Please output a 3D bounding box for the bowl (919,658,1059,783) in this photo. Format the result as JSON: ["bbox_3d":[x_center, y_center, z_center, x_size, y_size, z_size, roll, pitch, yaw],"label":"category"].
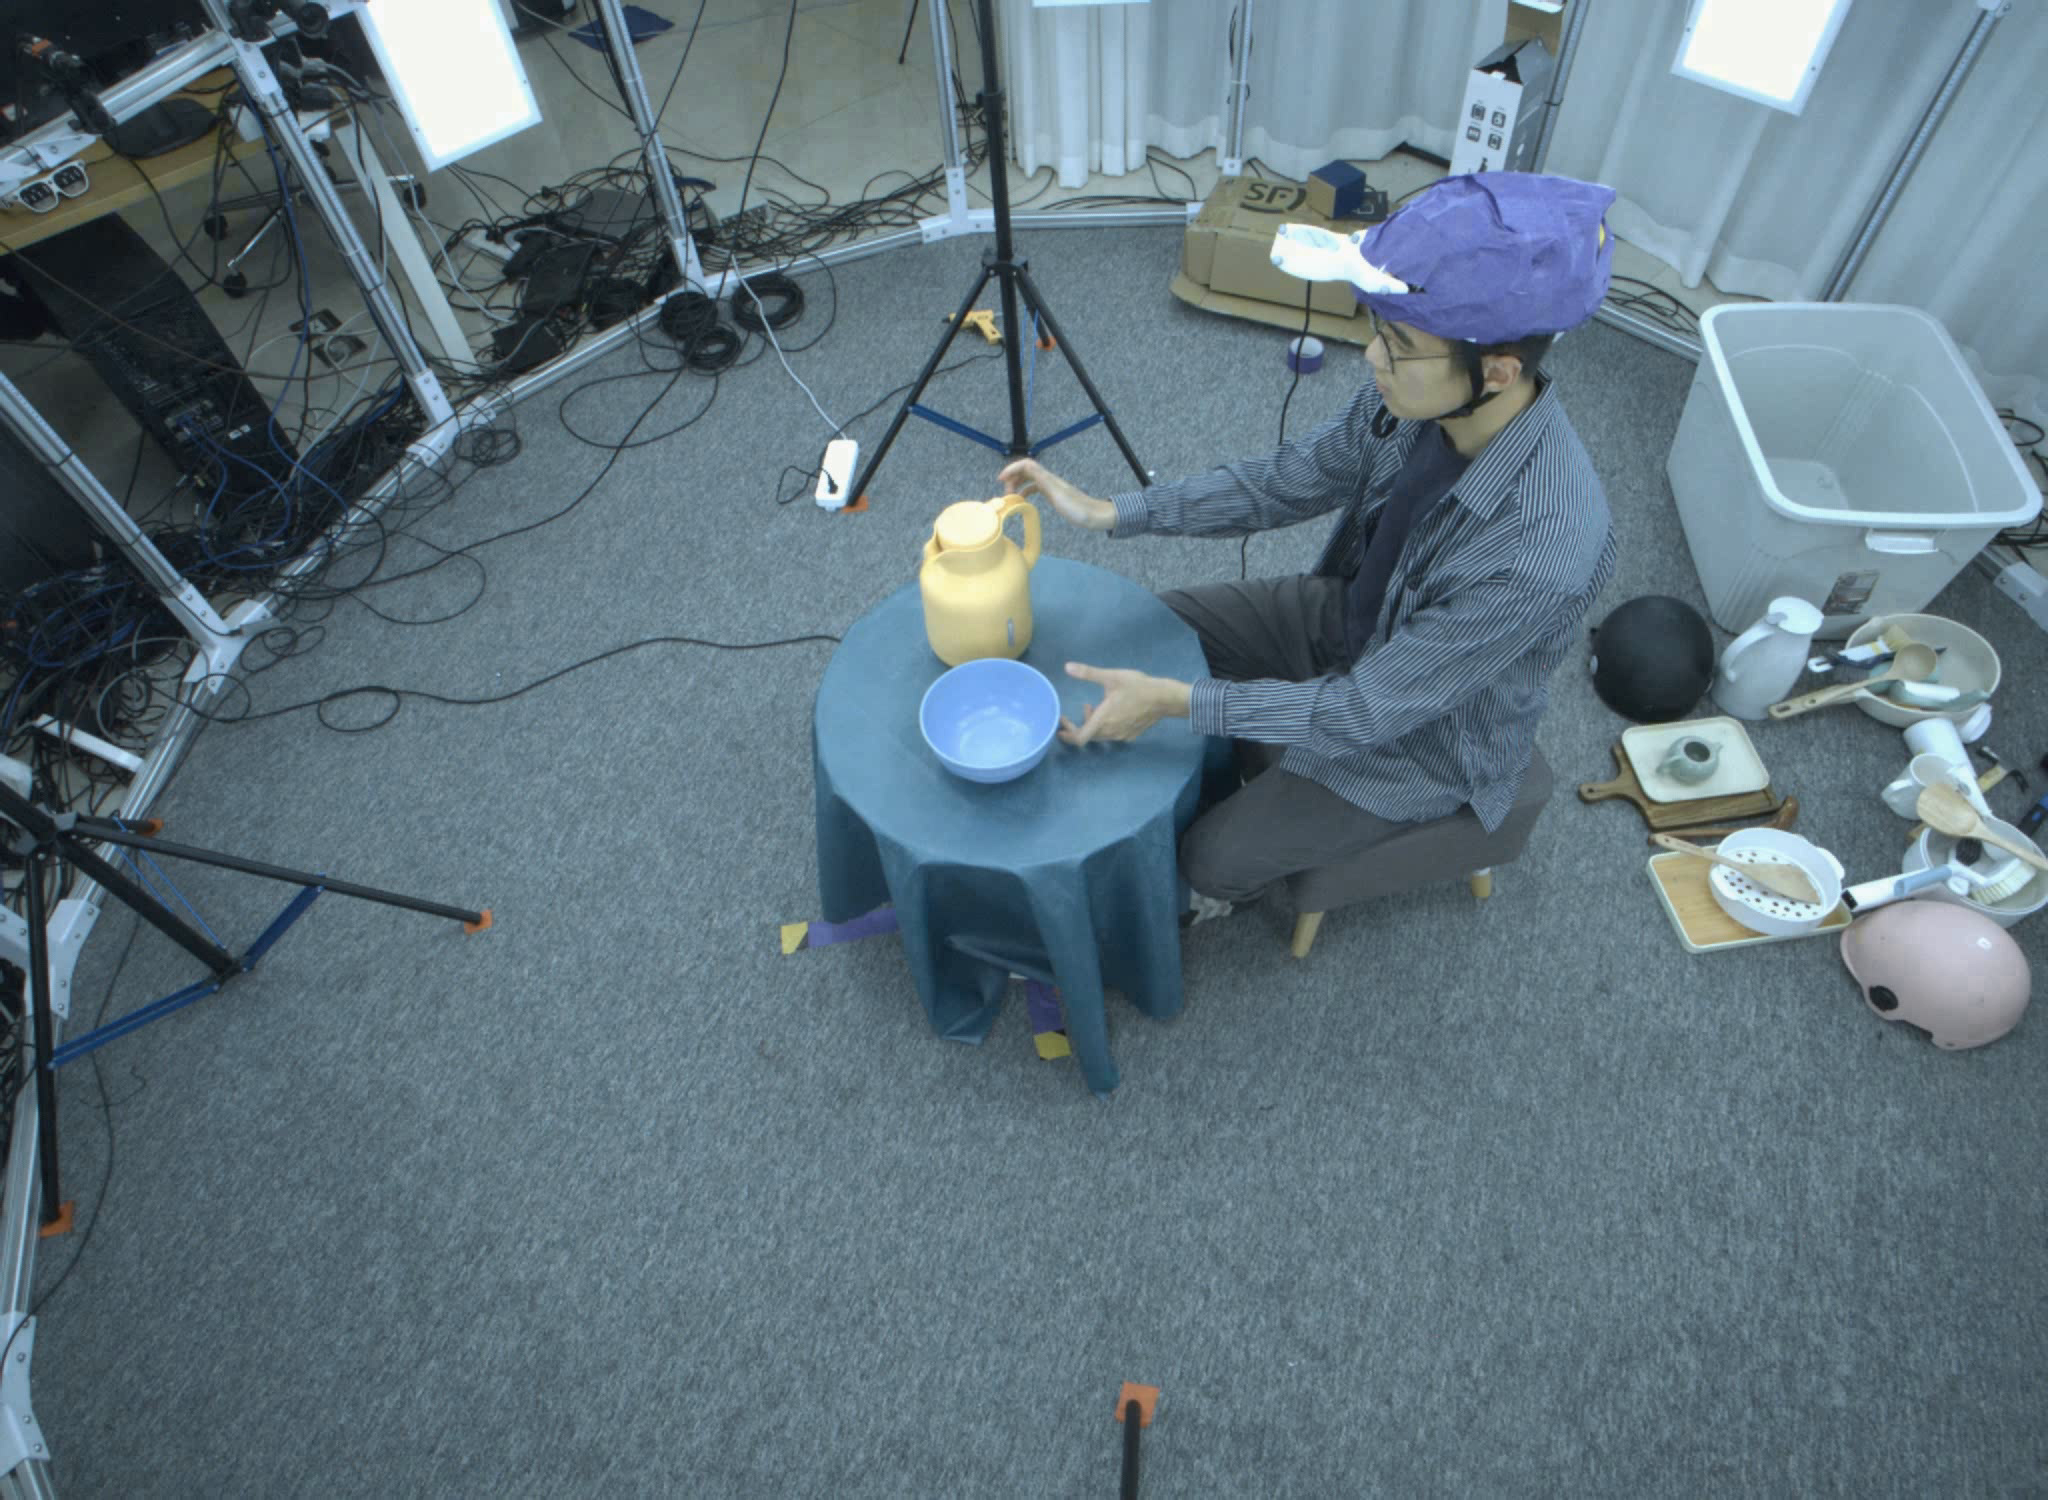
[{"bbox_3d":[-0.046,-0.027,1.755,0.196,0.096,0.194,-1,55,2],"label":"bowl"}]

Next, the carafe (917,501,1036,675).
[{"bbox_3d":[-0.061,-0.244,1.806,0.204,0.263,0.160,-37,60,-22],"label":"carafe"}]
